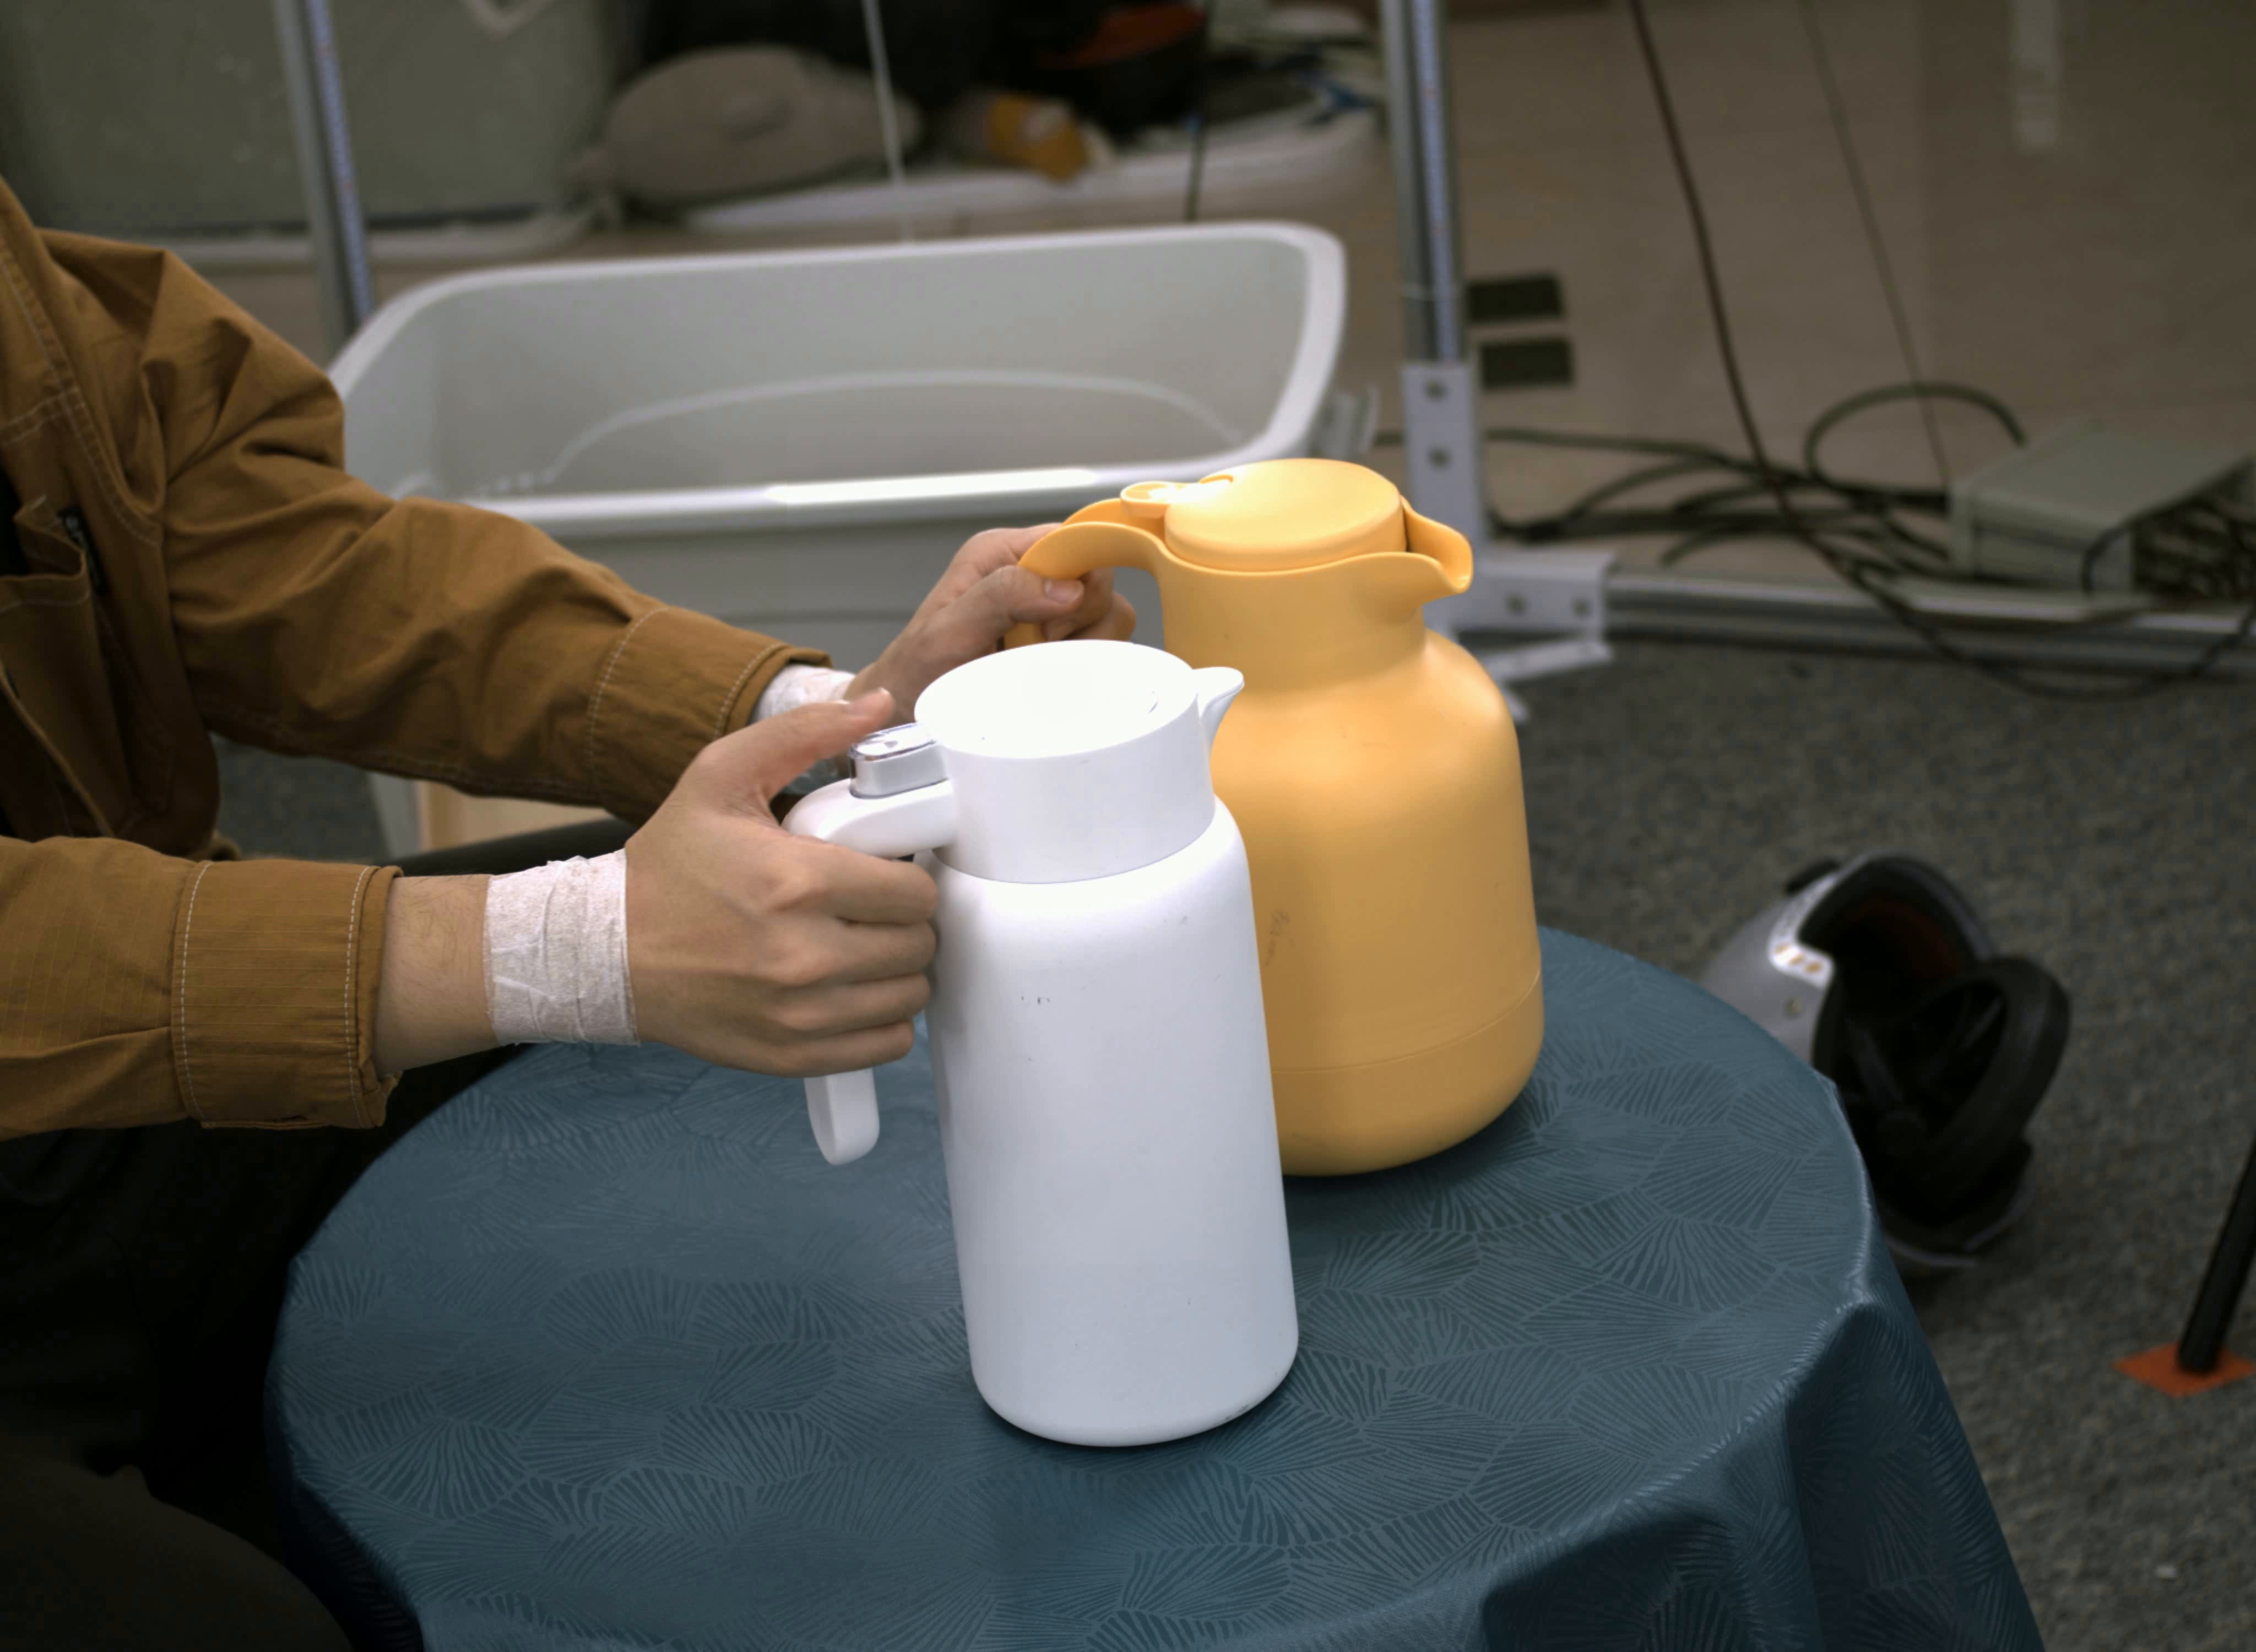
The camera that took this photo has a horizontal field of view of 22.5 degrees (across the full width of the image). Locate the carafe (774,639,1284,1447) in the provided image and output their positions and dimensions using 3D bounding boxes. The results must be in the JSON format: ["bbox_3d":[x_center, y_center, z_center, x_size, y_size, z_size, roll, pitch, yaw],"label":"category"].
[{"bbox_3d":[-0.028,0.080,1.962,0.172,0.273,0.122,-15,29,-19],"label":"carafe"}]

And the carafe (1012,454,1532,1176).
[{"bbox_3d":[0.052,-0.012,2.144,0.201,0.264,0.162,11,28,29],"label":"carafe"}]
